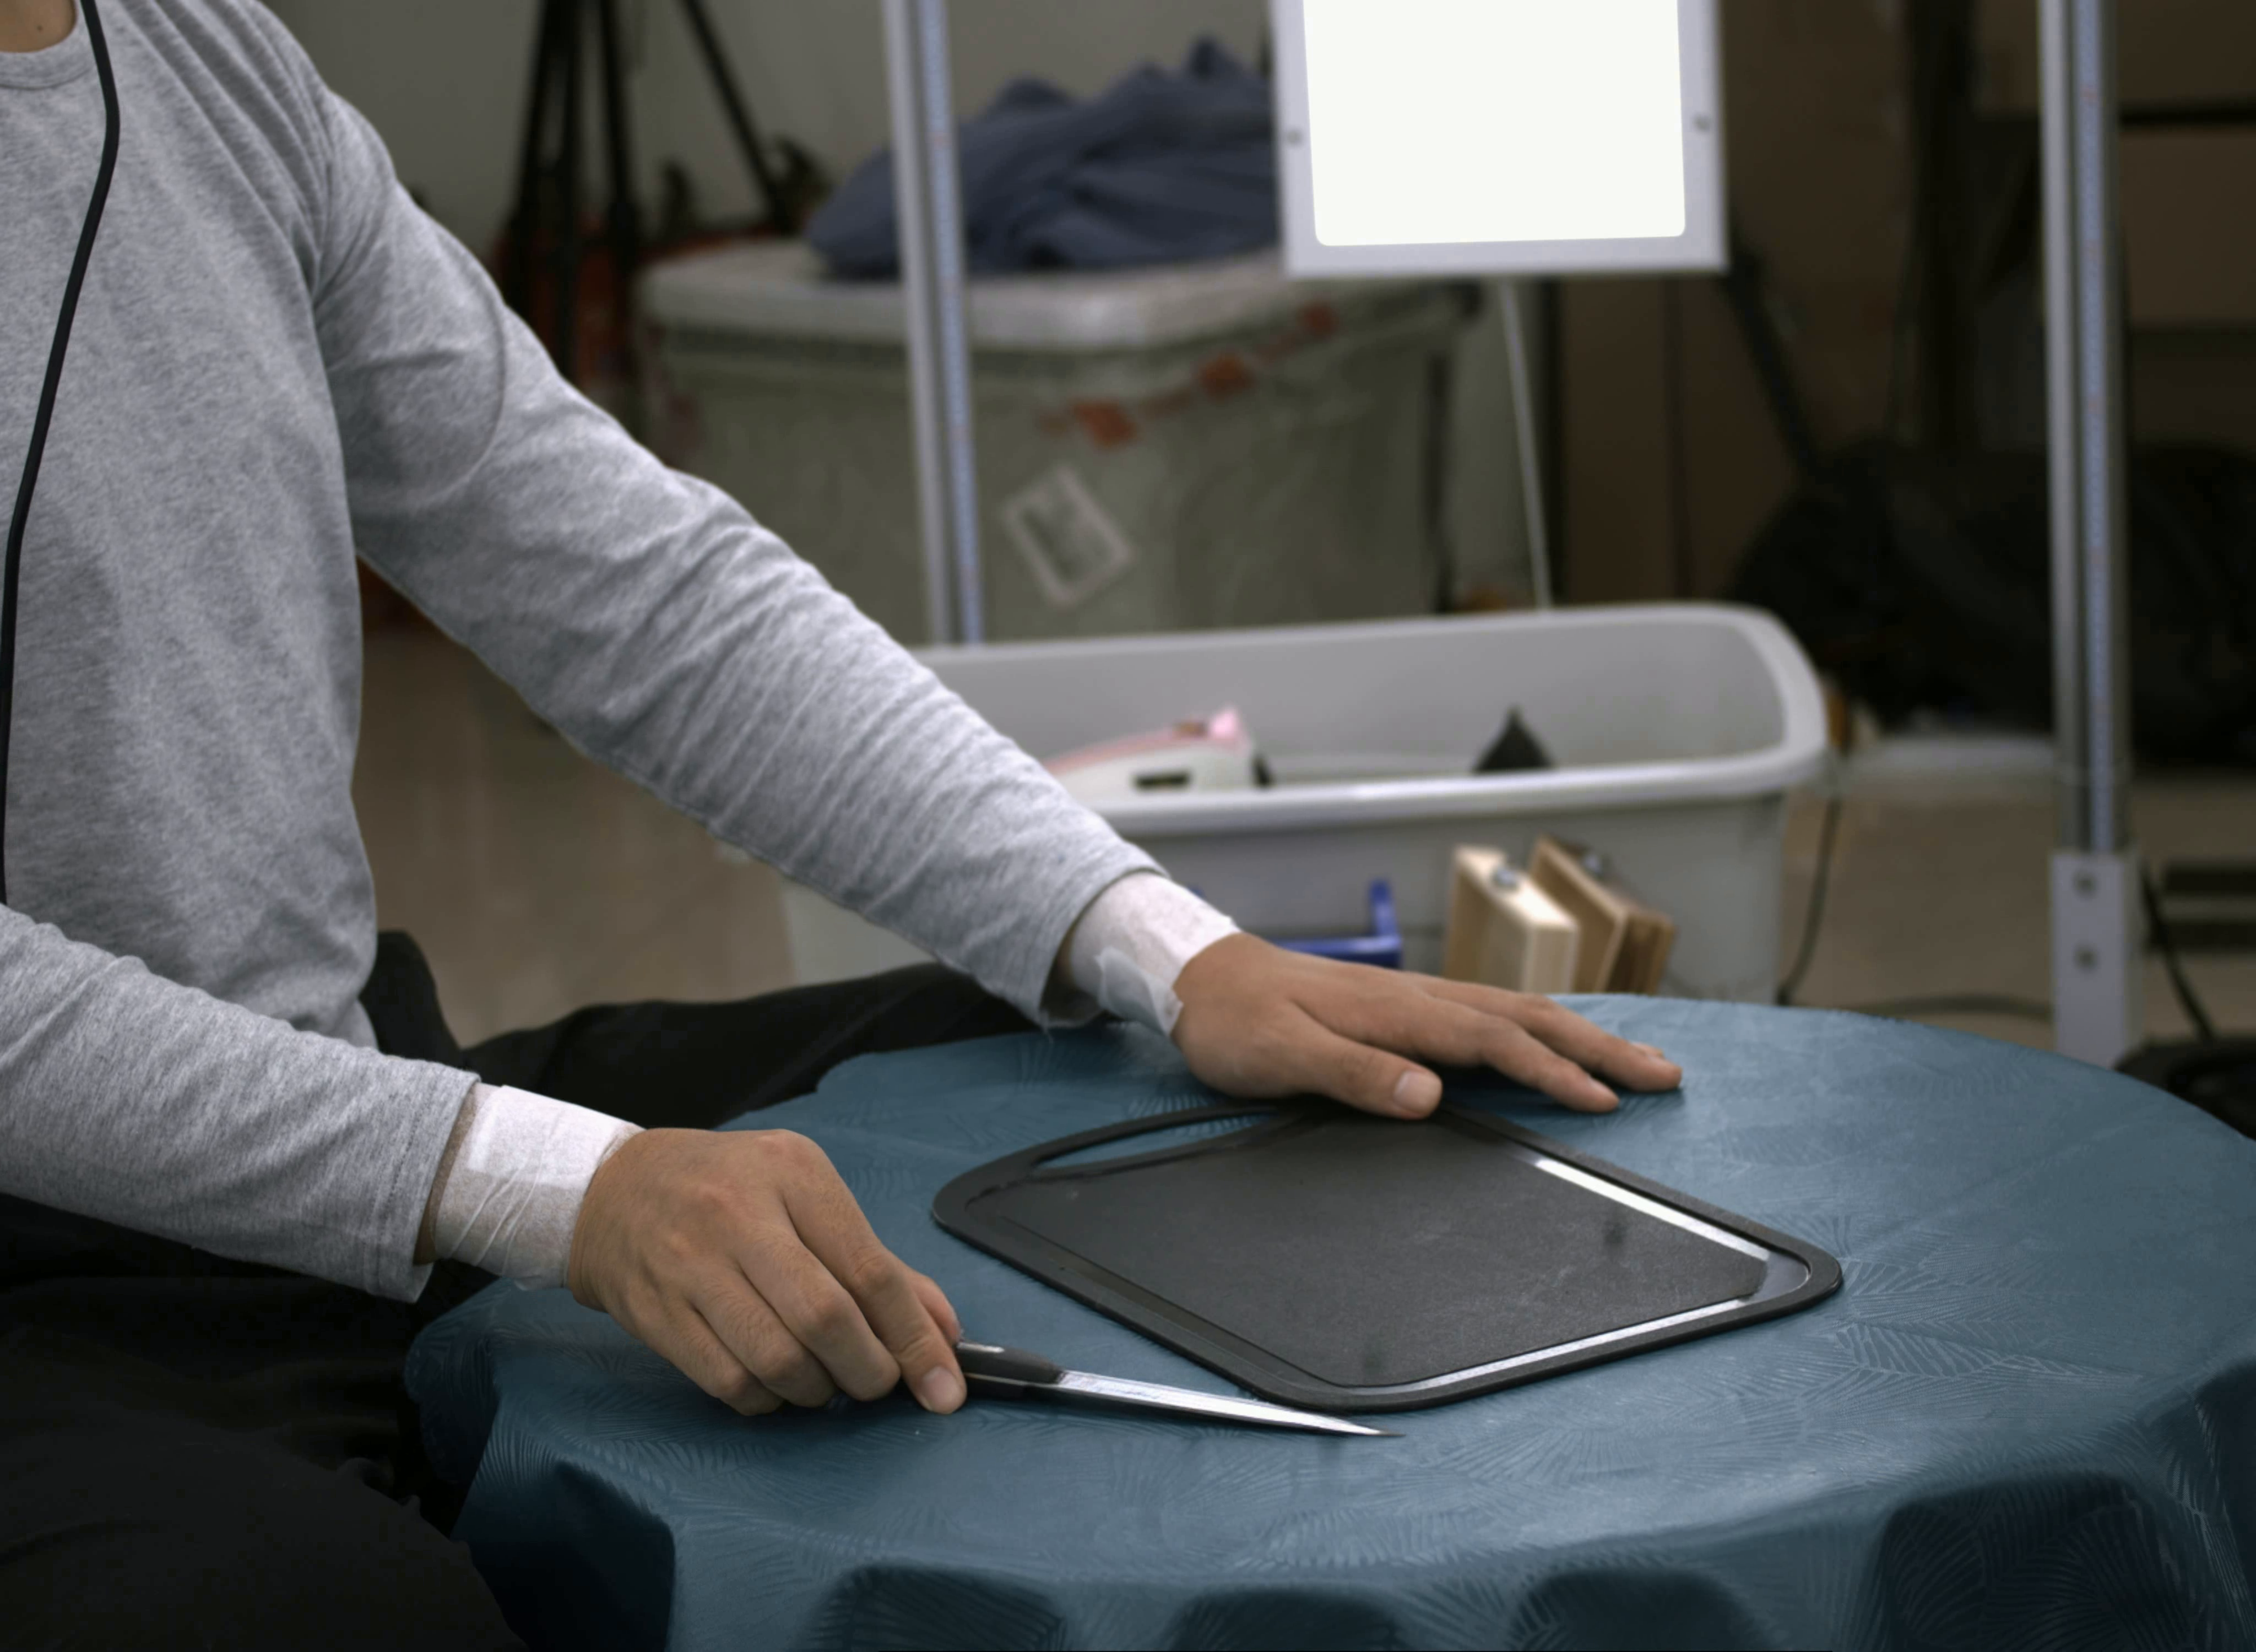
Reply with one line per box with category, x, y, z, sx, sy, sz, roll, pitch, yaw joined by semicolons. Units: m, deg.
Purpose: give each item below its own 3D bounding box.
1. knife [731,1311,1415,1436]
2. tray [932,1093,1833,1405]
knife;-0.021;0.172;1.702;0.242;0.016;0.024;5;12;28
tray;0.074;0.134;1.833;0.207;0.010;0.331;-12;15;-25
